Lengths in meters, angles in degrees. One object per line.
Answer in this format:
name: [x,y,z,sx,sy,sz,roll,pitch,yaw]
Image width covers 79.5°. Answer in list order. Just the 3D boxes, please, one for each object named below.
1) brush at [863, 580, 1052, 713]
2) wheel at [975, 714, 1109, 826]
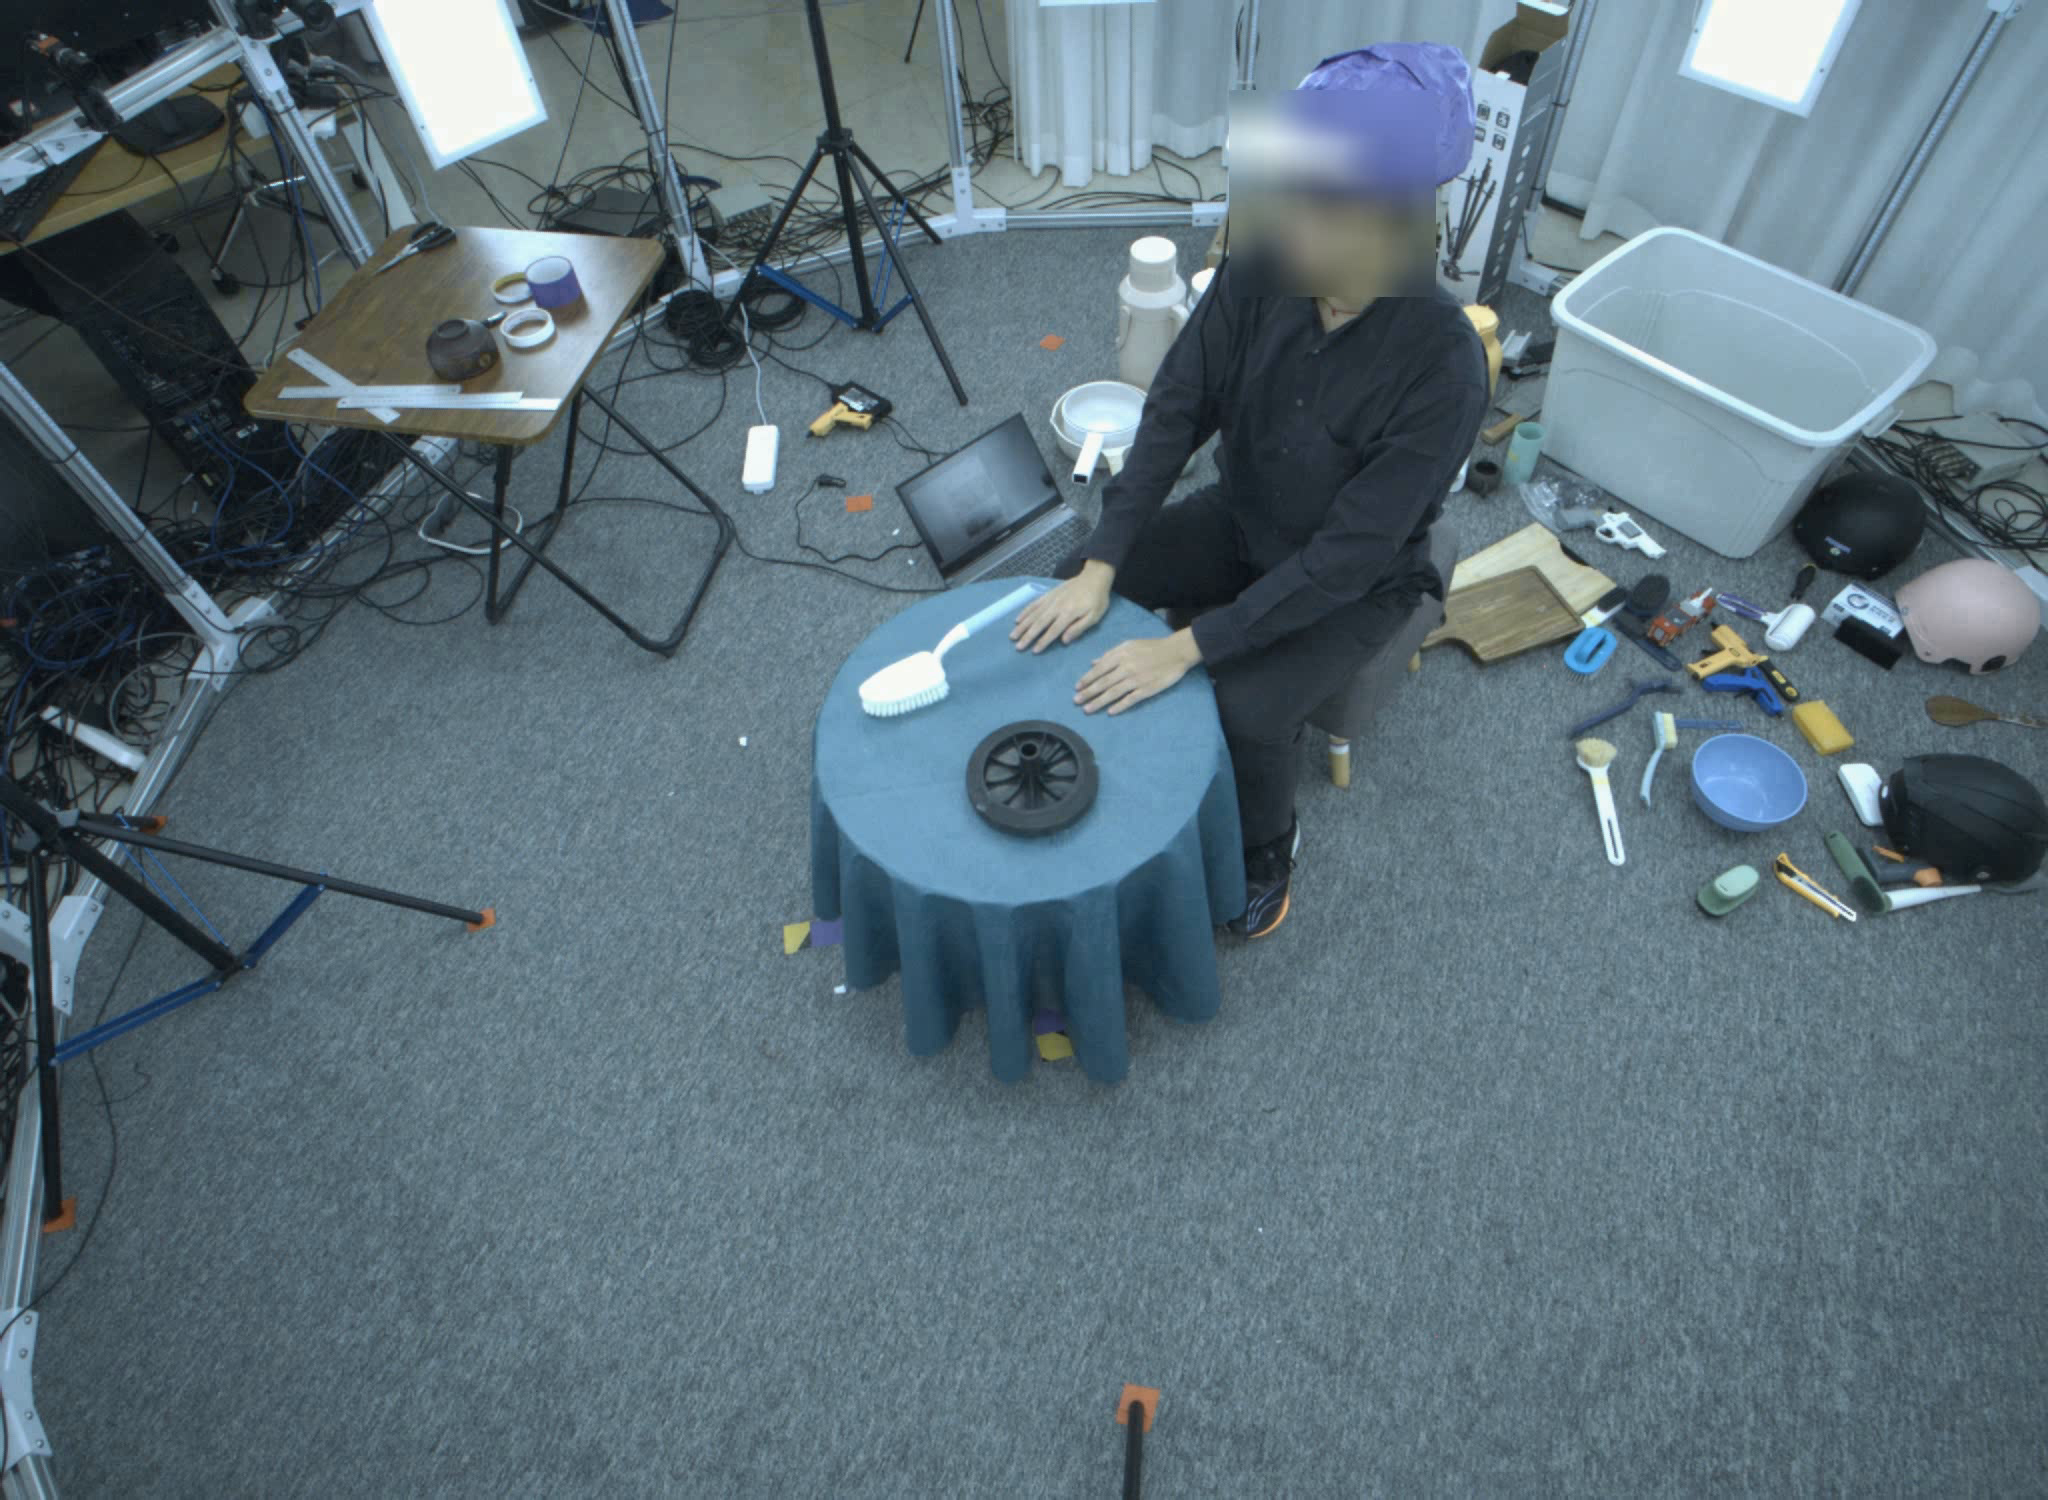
brush: [-0.092,-0.145,1.842,0.326,0.084,0.083,-31,94,-4]
wheel: [0.023,0.013,1.726,0.186,0.080,0.188,29,61,23]
